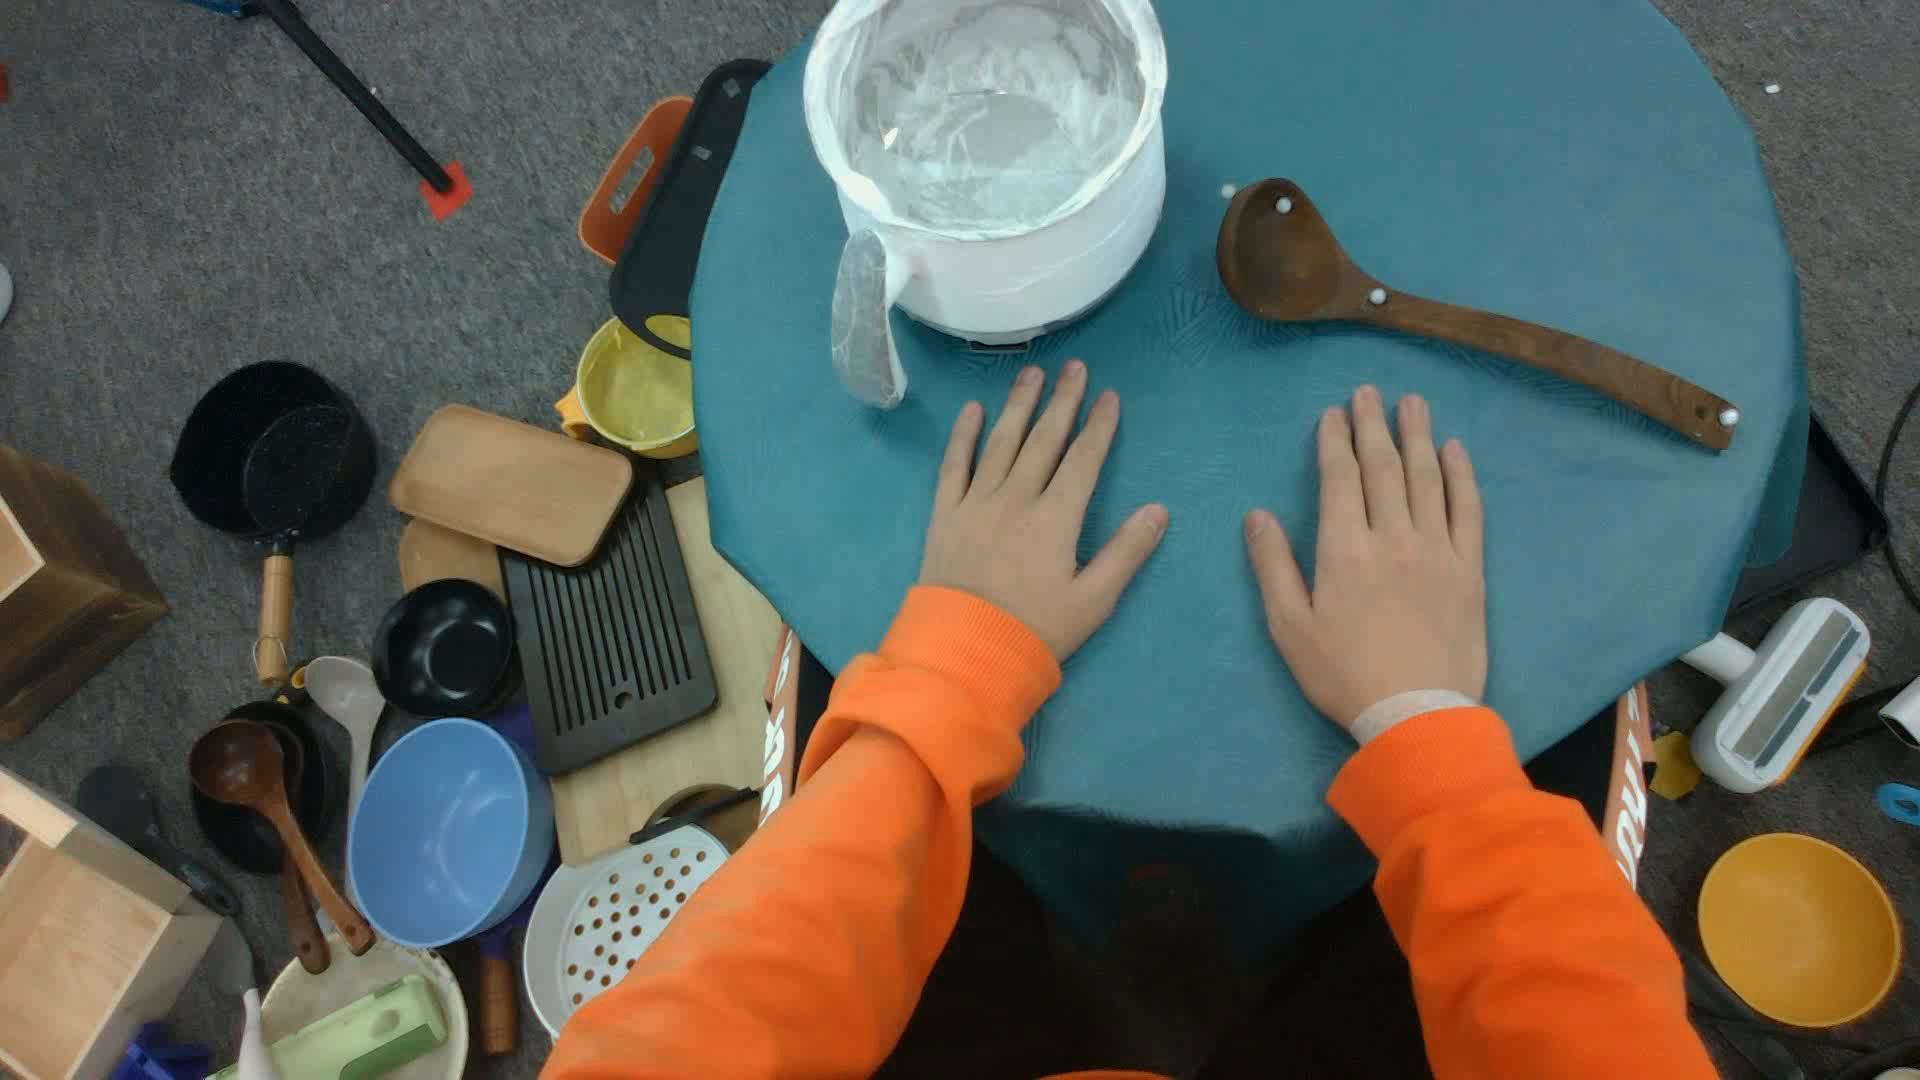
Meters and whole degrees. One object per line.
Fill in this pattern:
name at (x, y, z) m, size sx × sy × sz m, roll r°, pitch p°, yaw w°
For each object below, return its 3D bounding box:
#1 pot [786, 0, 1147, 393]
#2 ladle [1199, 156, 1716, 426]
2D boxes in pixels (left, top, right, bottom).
pot at (-0.004, -0.191, 0.723) m, size 0.178 × 0.136 × 0.234 m, roll 28°, pitch 79°, yaw 15°
ladle at (0.255, -0.124, 0.704) m, size 0.274 × 0.071 × 0.076 m, roll 22°, pitch 81°, yaw 14°
